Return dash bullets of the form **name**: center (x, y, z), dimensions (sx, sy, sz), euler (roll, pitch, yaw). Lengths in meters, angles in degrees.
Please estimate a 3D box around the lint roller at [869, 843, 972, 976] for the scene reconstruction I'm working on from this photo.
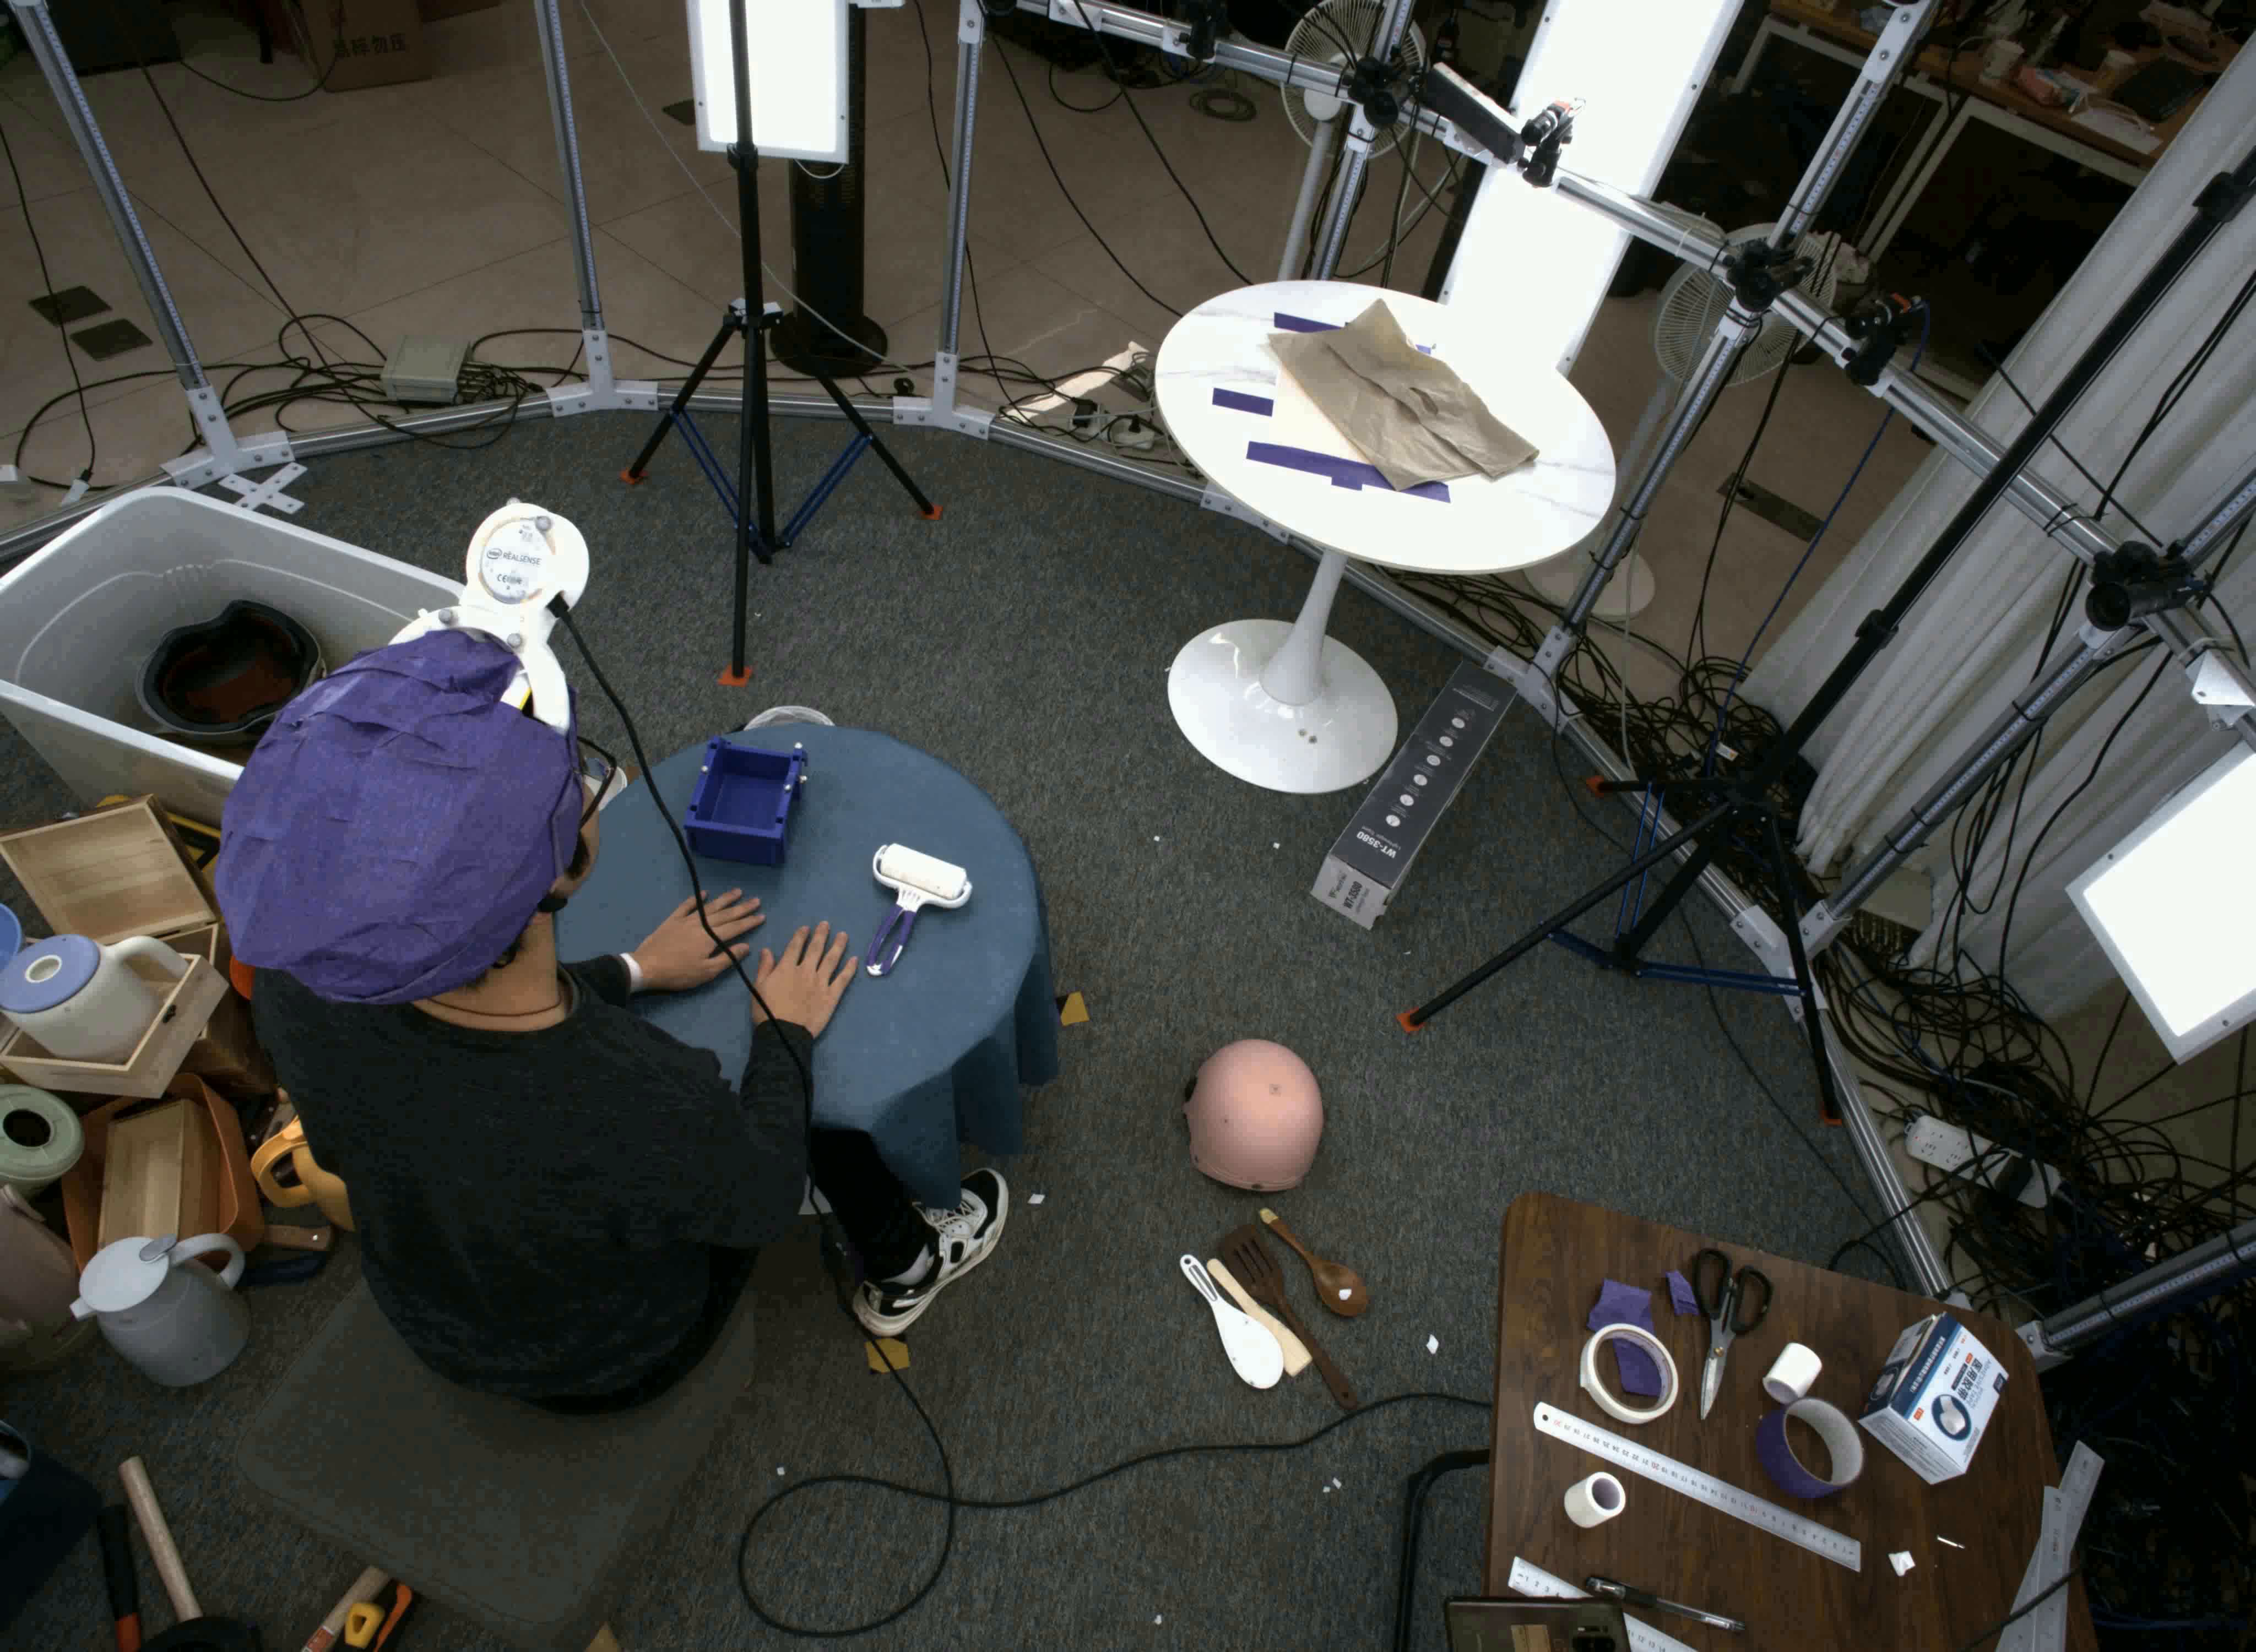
- **lint roller**: center (-0.286, 0.105, 1.646), dimensions (0.131, 0.051, 0.179), euler (23, 50, 2)

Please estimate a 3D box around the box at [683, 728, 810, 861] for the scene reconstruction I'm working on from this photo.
- **box**: center (-0.495, -0.049, 1.684), dimensions (0.124, 0.083, 0.176), euler (9, 55, -7)
